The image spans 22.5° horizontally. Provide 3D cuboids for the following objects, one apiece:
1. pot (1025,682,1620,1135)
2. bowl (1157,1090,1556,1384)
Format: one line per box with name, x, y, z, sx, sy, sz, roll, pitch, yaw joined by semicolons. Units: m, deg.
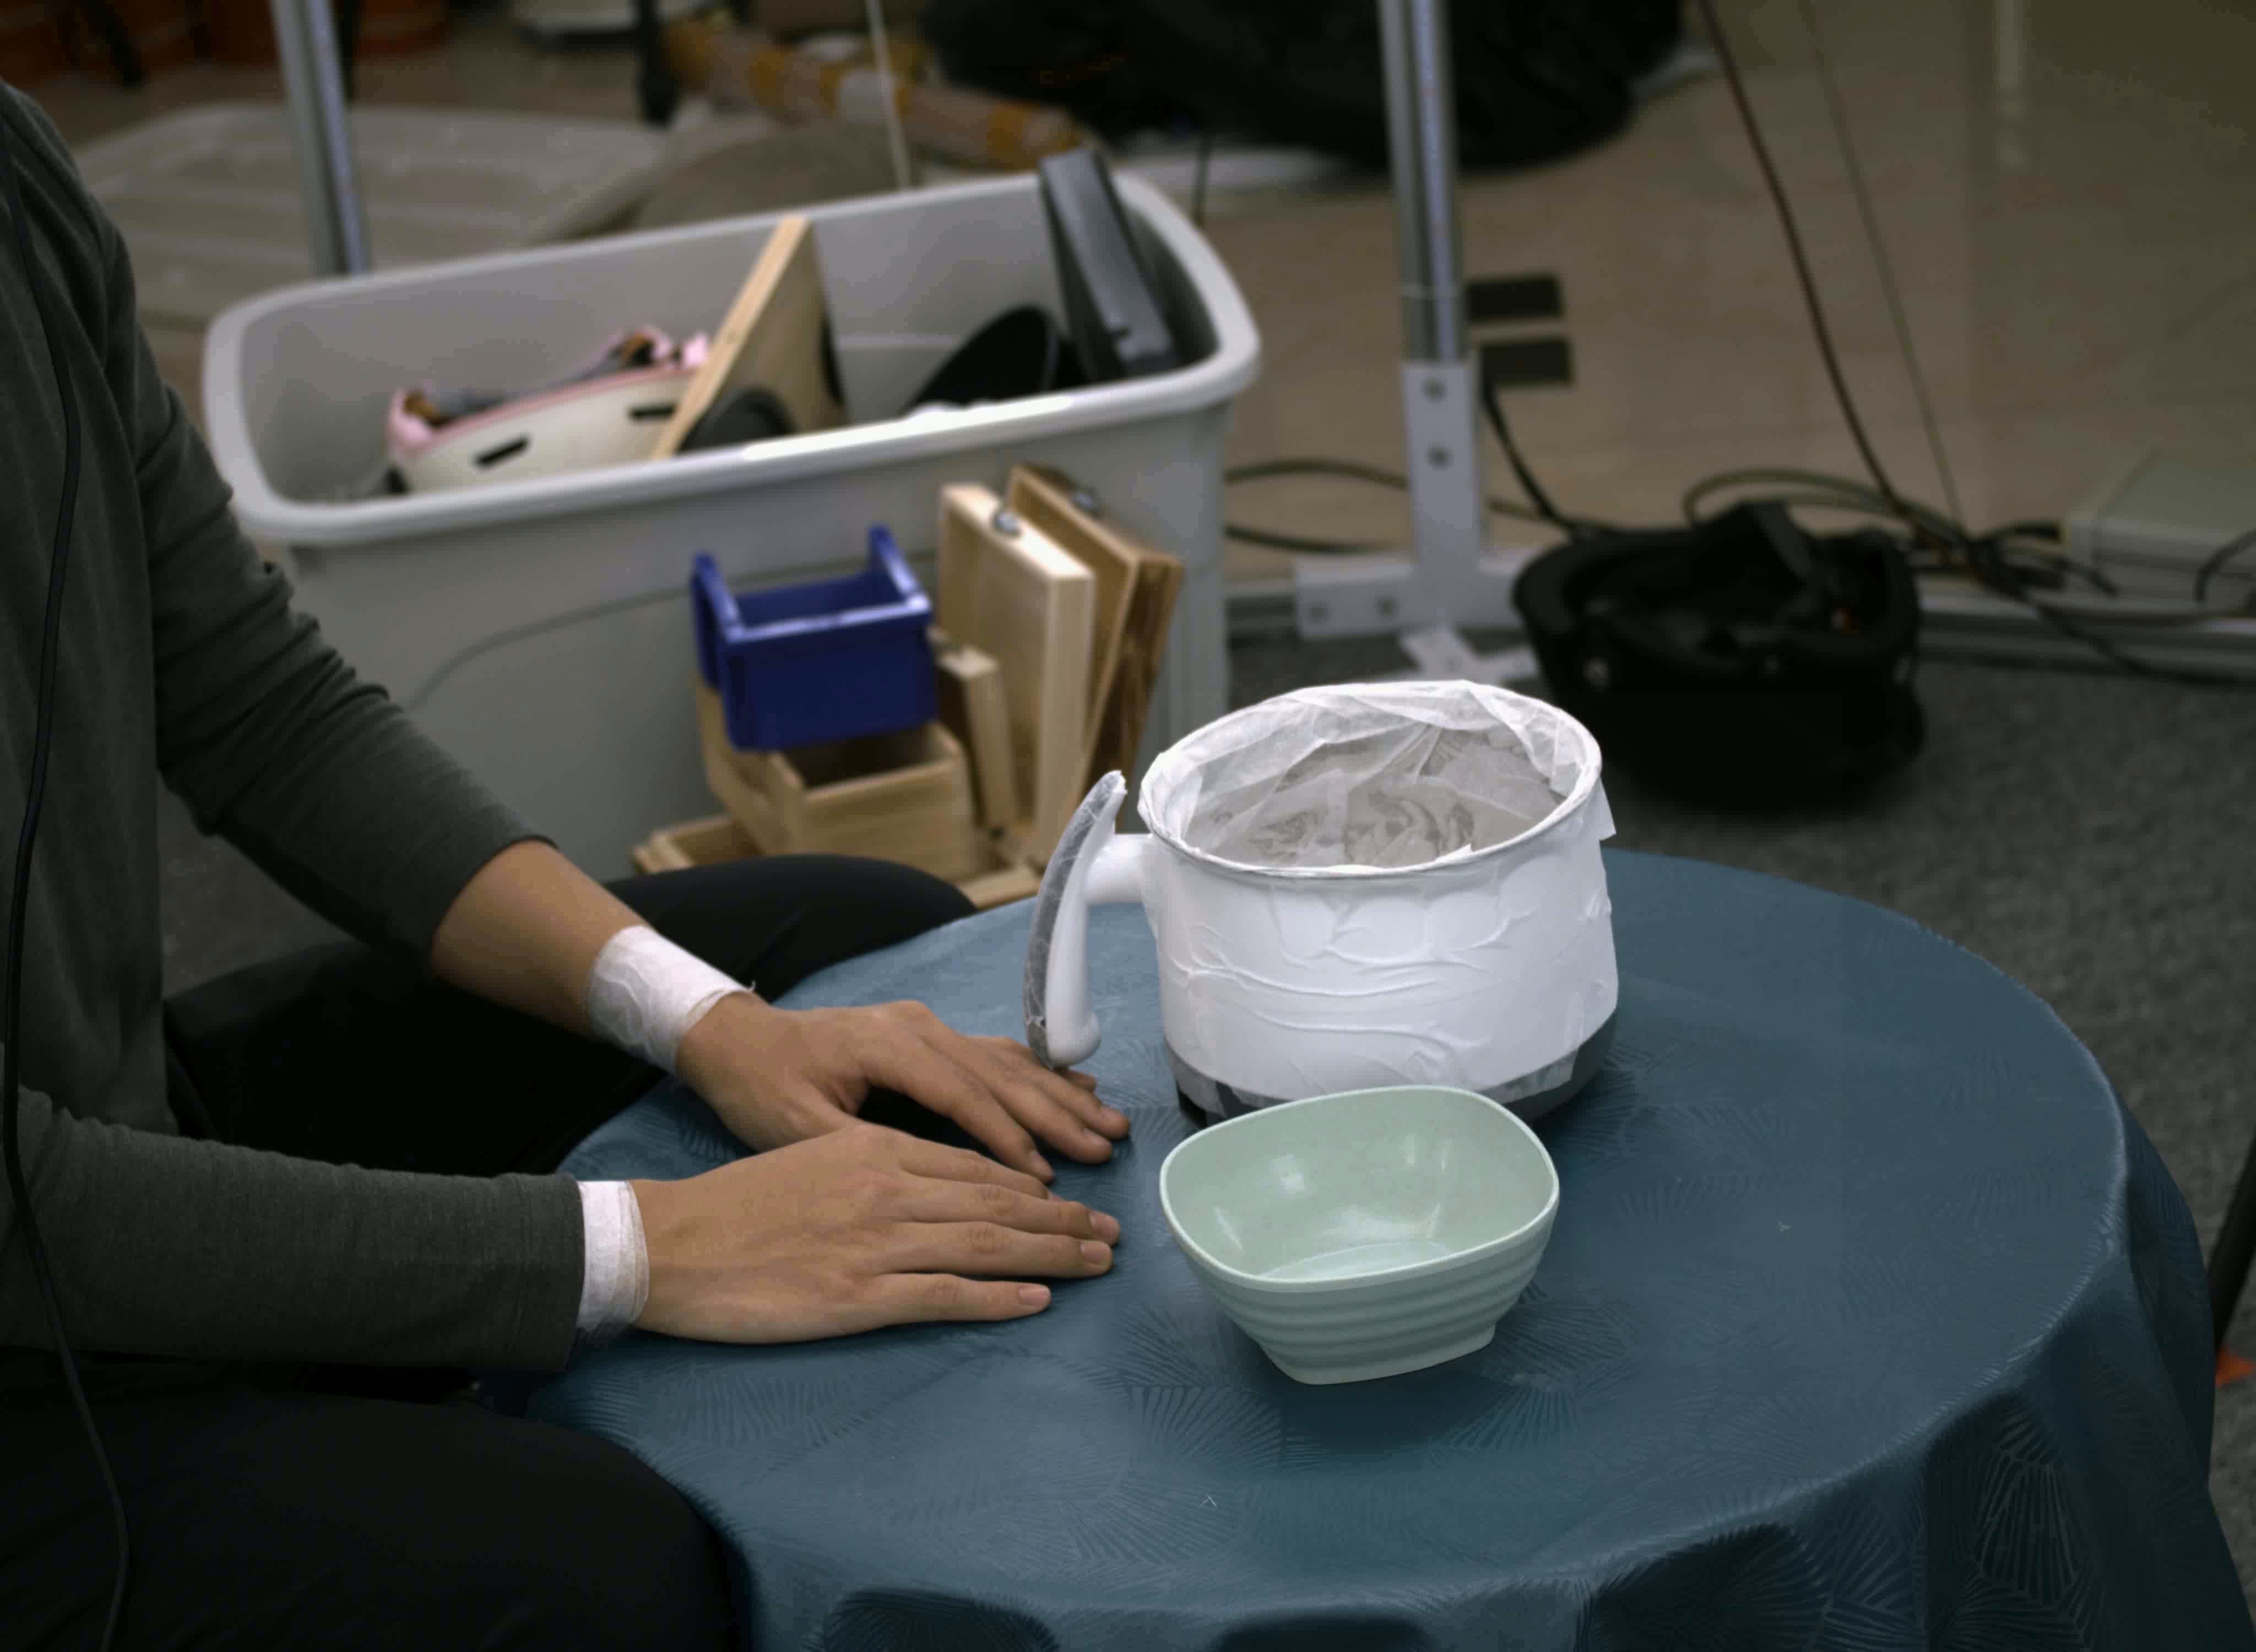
pot;0.071;0.040;2.185;0.233;0.139;0.176;-3;26;9
bowl;0.083;0.153;2.034;0.151;0.059;0.149;-4;25;2
